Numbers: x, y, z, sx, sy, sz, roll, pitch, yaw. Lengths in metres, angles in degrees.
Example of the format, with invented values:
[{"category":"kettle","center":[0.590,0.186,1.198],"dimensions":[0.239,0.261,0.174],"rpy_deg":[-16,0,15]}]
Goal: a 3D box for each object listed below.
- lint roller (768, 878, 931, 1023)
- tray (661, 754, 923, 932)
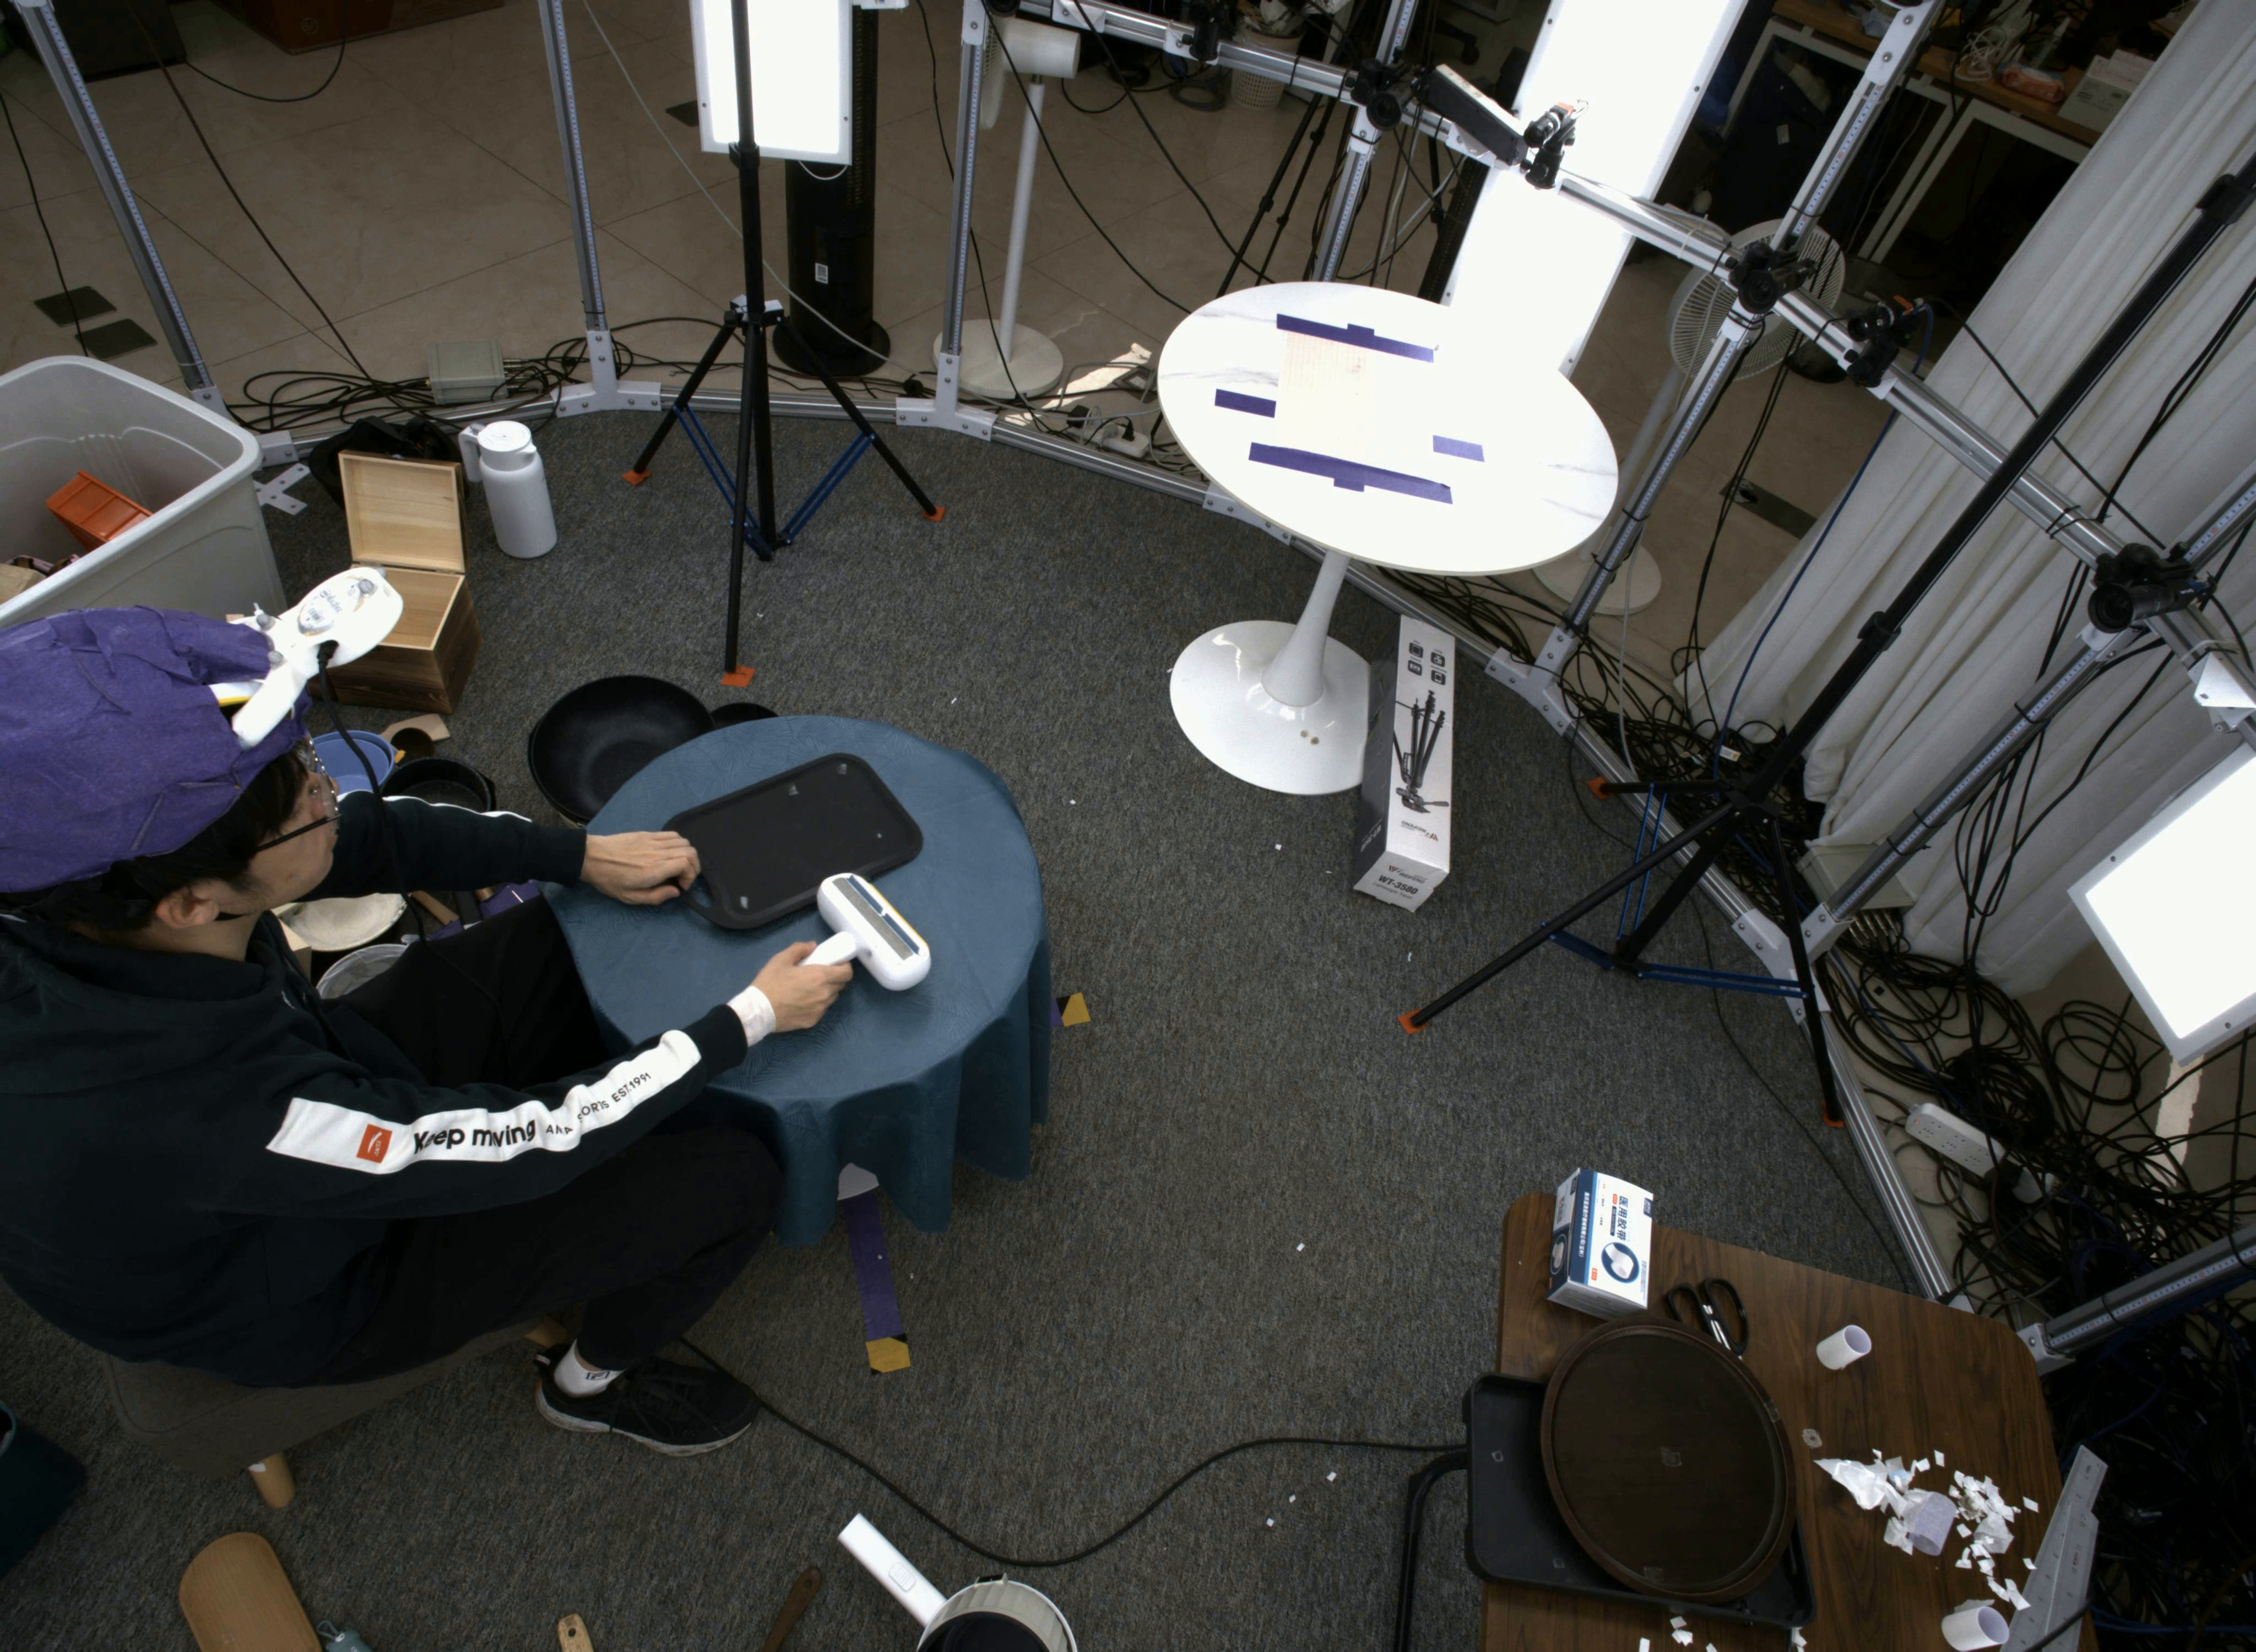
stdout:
[{"category":"lint roller","center":[-0.360,0.168,1.599],"dimensions":[0.192,0.076,0.187],"rpy_deg":[-30,57,-19]},{"category":"tray","center":[-0.442,0.017,1.698],"dimensions":[0.327,0.010,0.206],"rpy_deg":[-26,64,-33]}]
